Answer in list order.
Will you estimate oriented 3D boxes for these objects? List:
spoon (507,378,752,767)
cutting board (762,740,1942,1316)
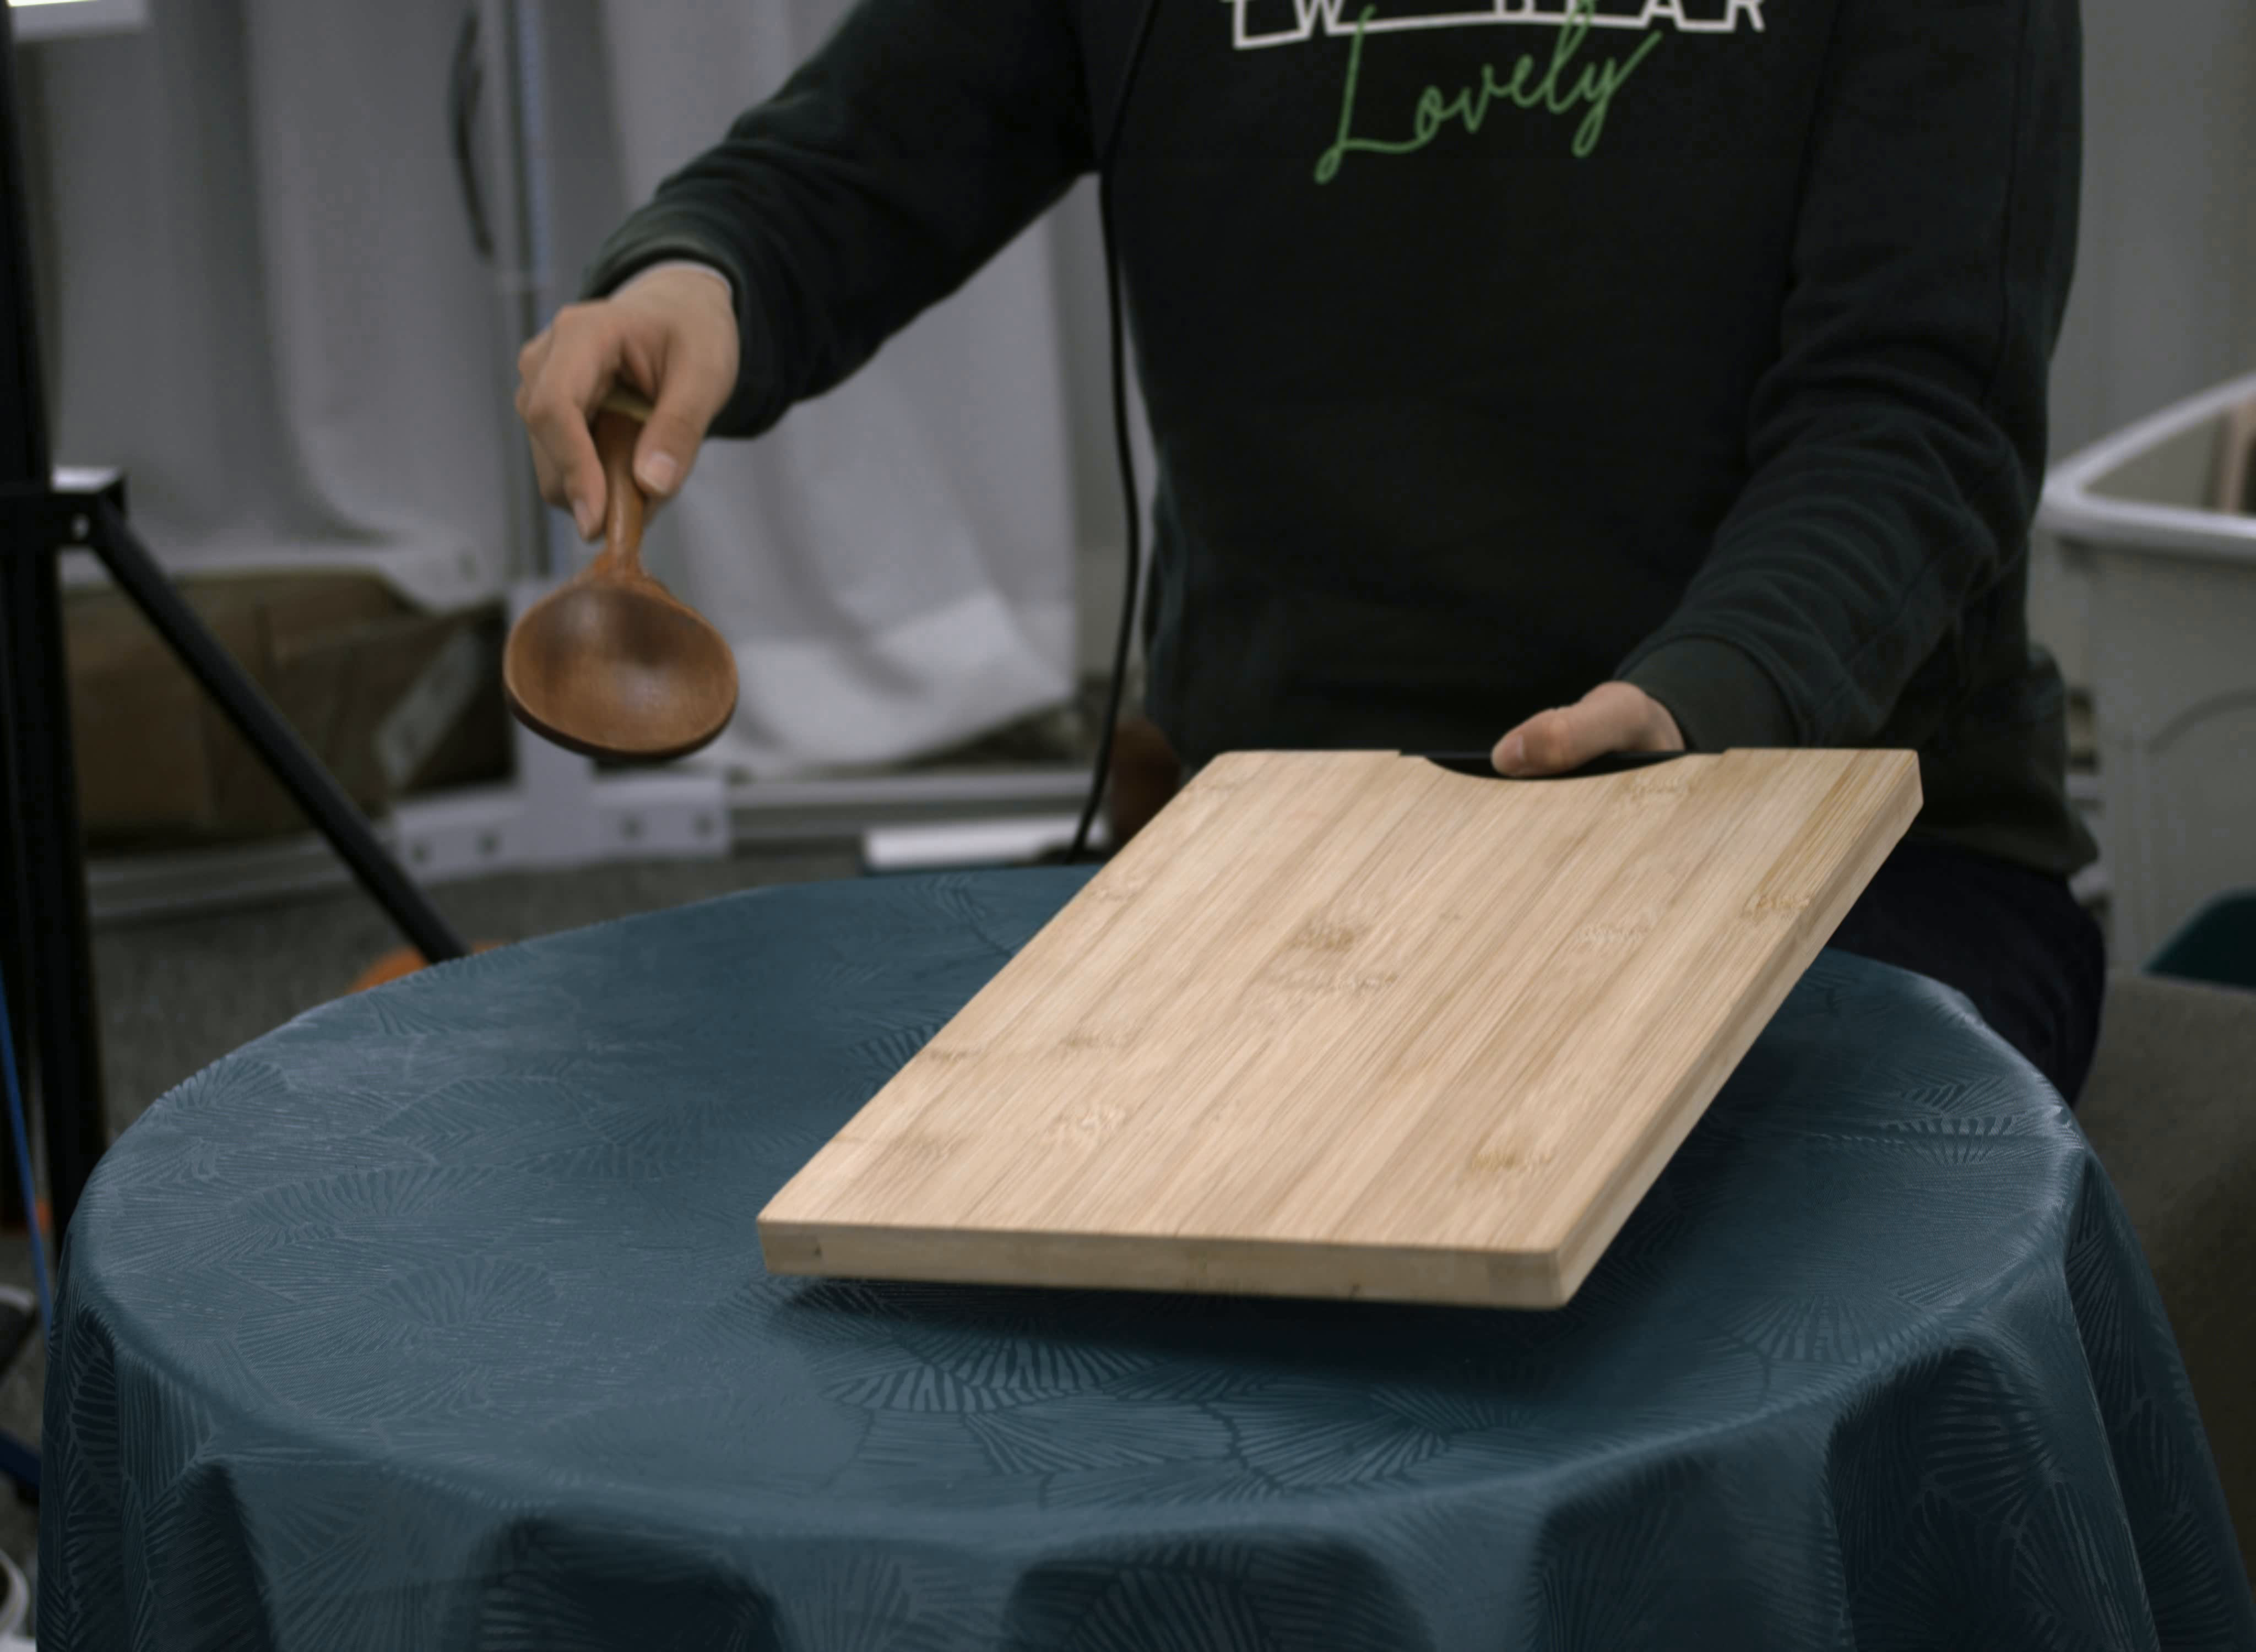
[{"bbox_3d":[-0.157,-0.080,1.690,0.075,0.017,0.218,2,36,-6],"label":"spoon"},{"bbox_3d":[0.075,0.050,1.564,0.254,0.023,0.345,0,24,26],"label":"cutting board"}]
